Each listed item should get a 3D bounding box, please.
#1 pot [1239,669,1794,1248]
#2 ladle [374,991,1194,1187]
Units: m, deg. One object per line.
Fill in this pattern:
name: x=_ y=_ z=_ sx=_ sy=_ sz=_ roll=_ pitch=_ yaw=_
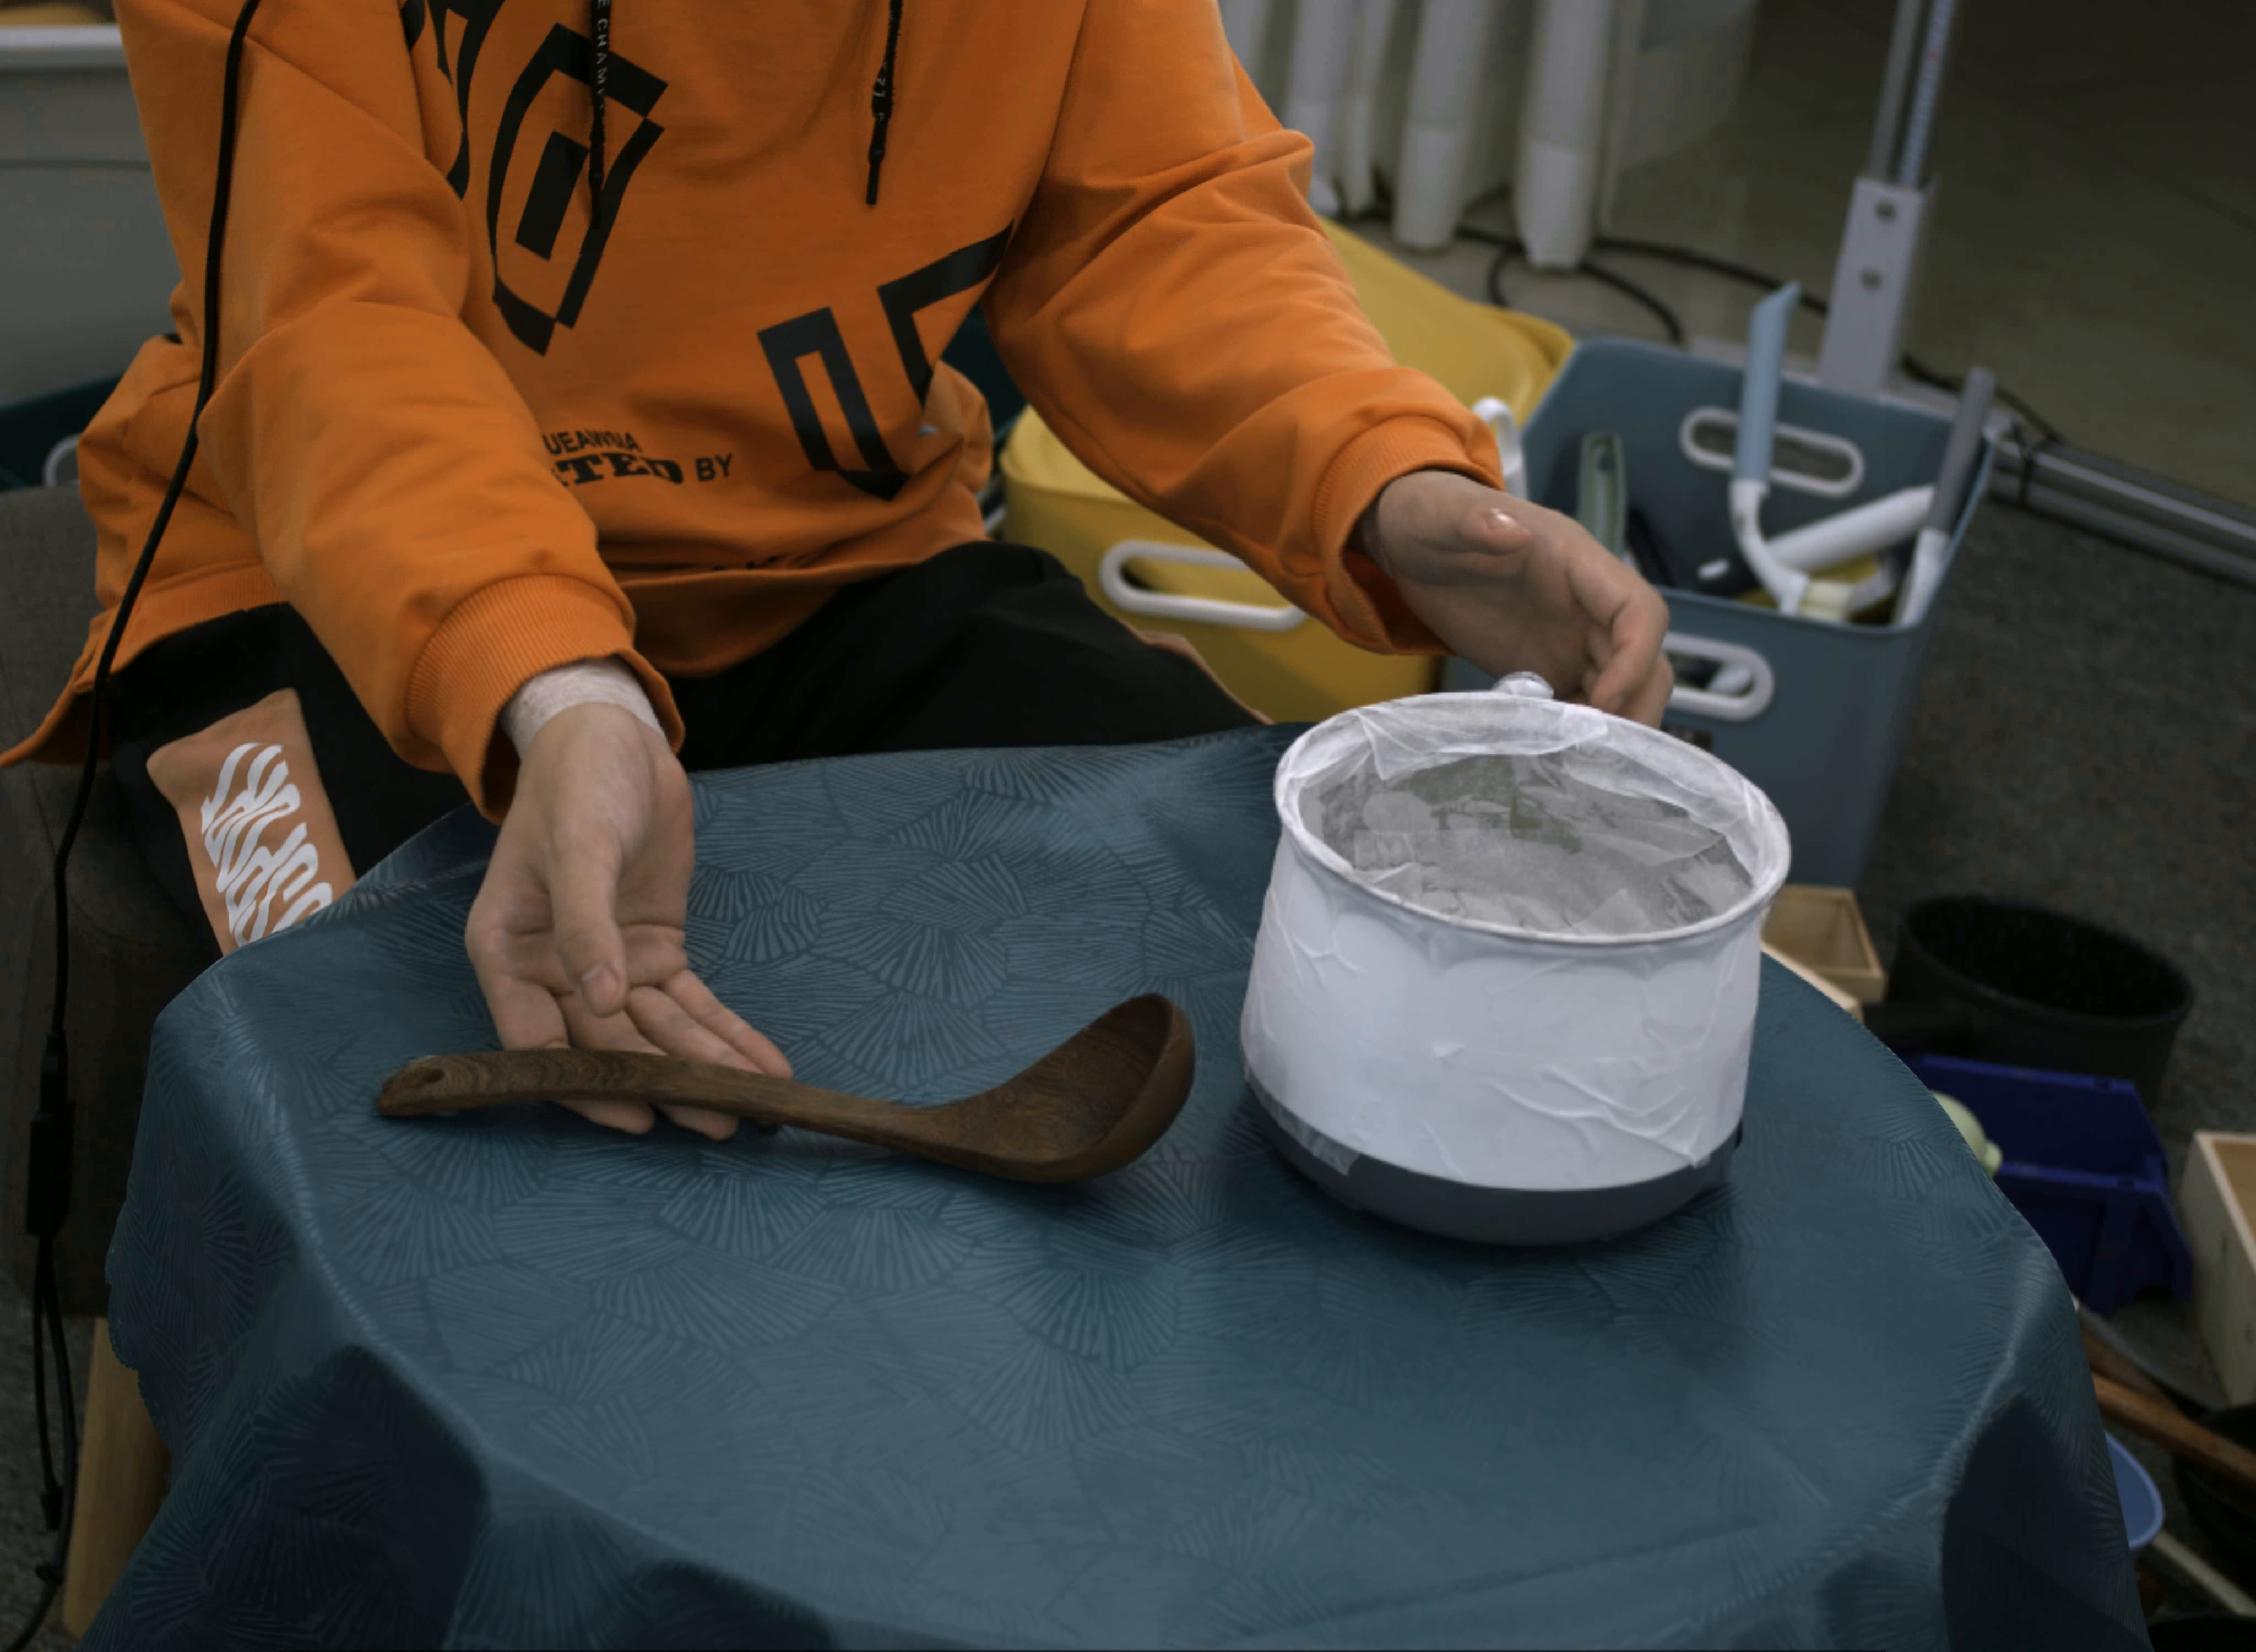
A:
pot: x=0.130 y=0.038 z=1.848 sx=0.178 sy=0.136 sz=0.235 roll=6 pitch=27 yaw=-2
ladle: x=-0.115 y=0.077 z=1.791 sx=0.273 sy=0.071 sz=0.076 roll=7 pitch=26 yaw=-2
